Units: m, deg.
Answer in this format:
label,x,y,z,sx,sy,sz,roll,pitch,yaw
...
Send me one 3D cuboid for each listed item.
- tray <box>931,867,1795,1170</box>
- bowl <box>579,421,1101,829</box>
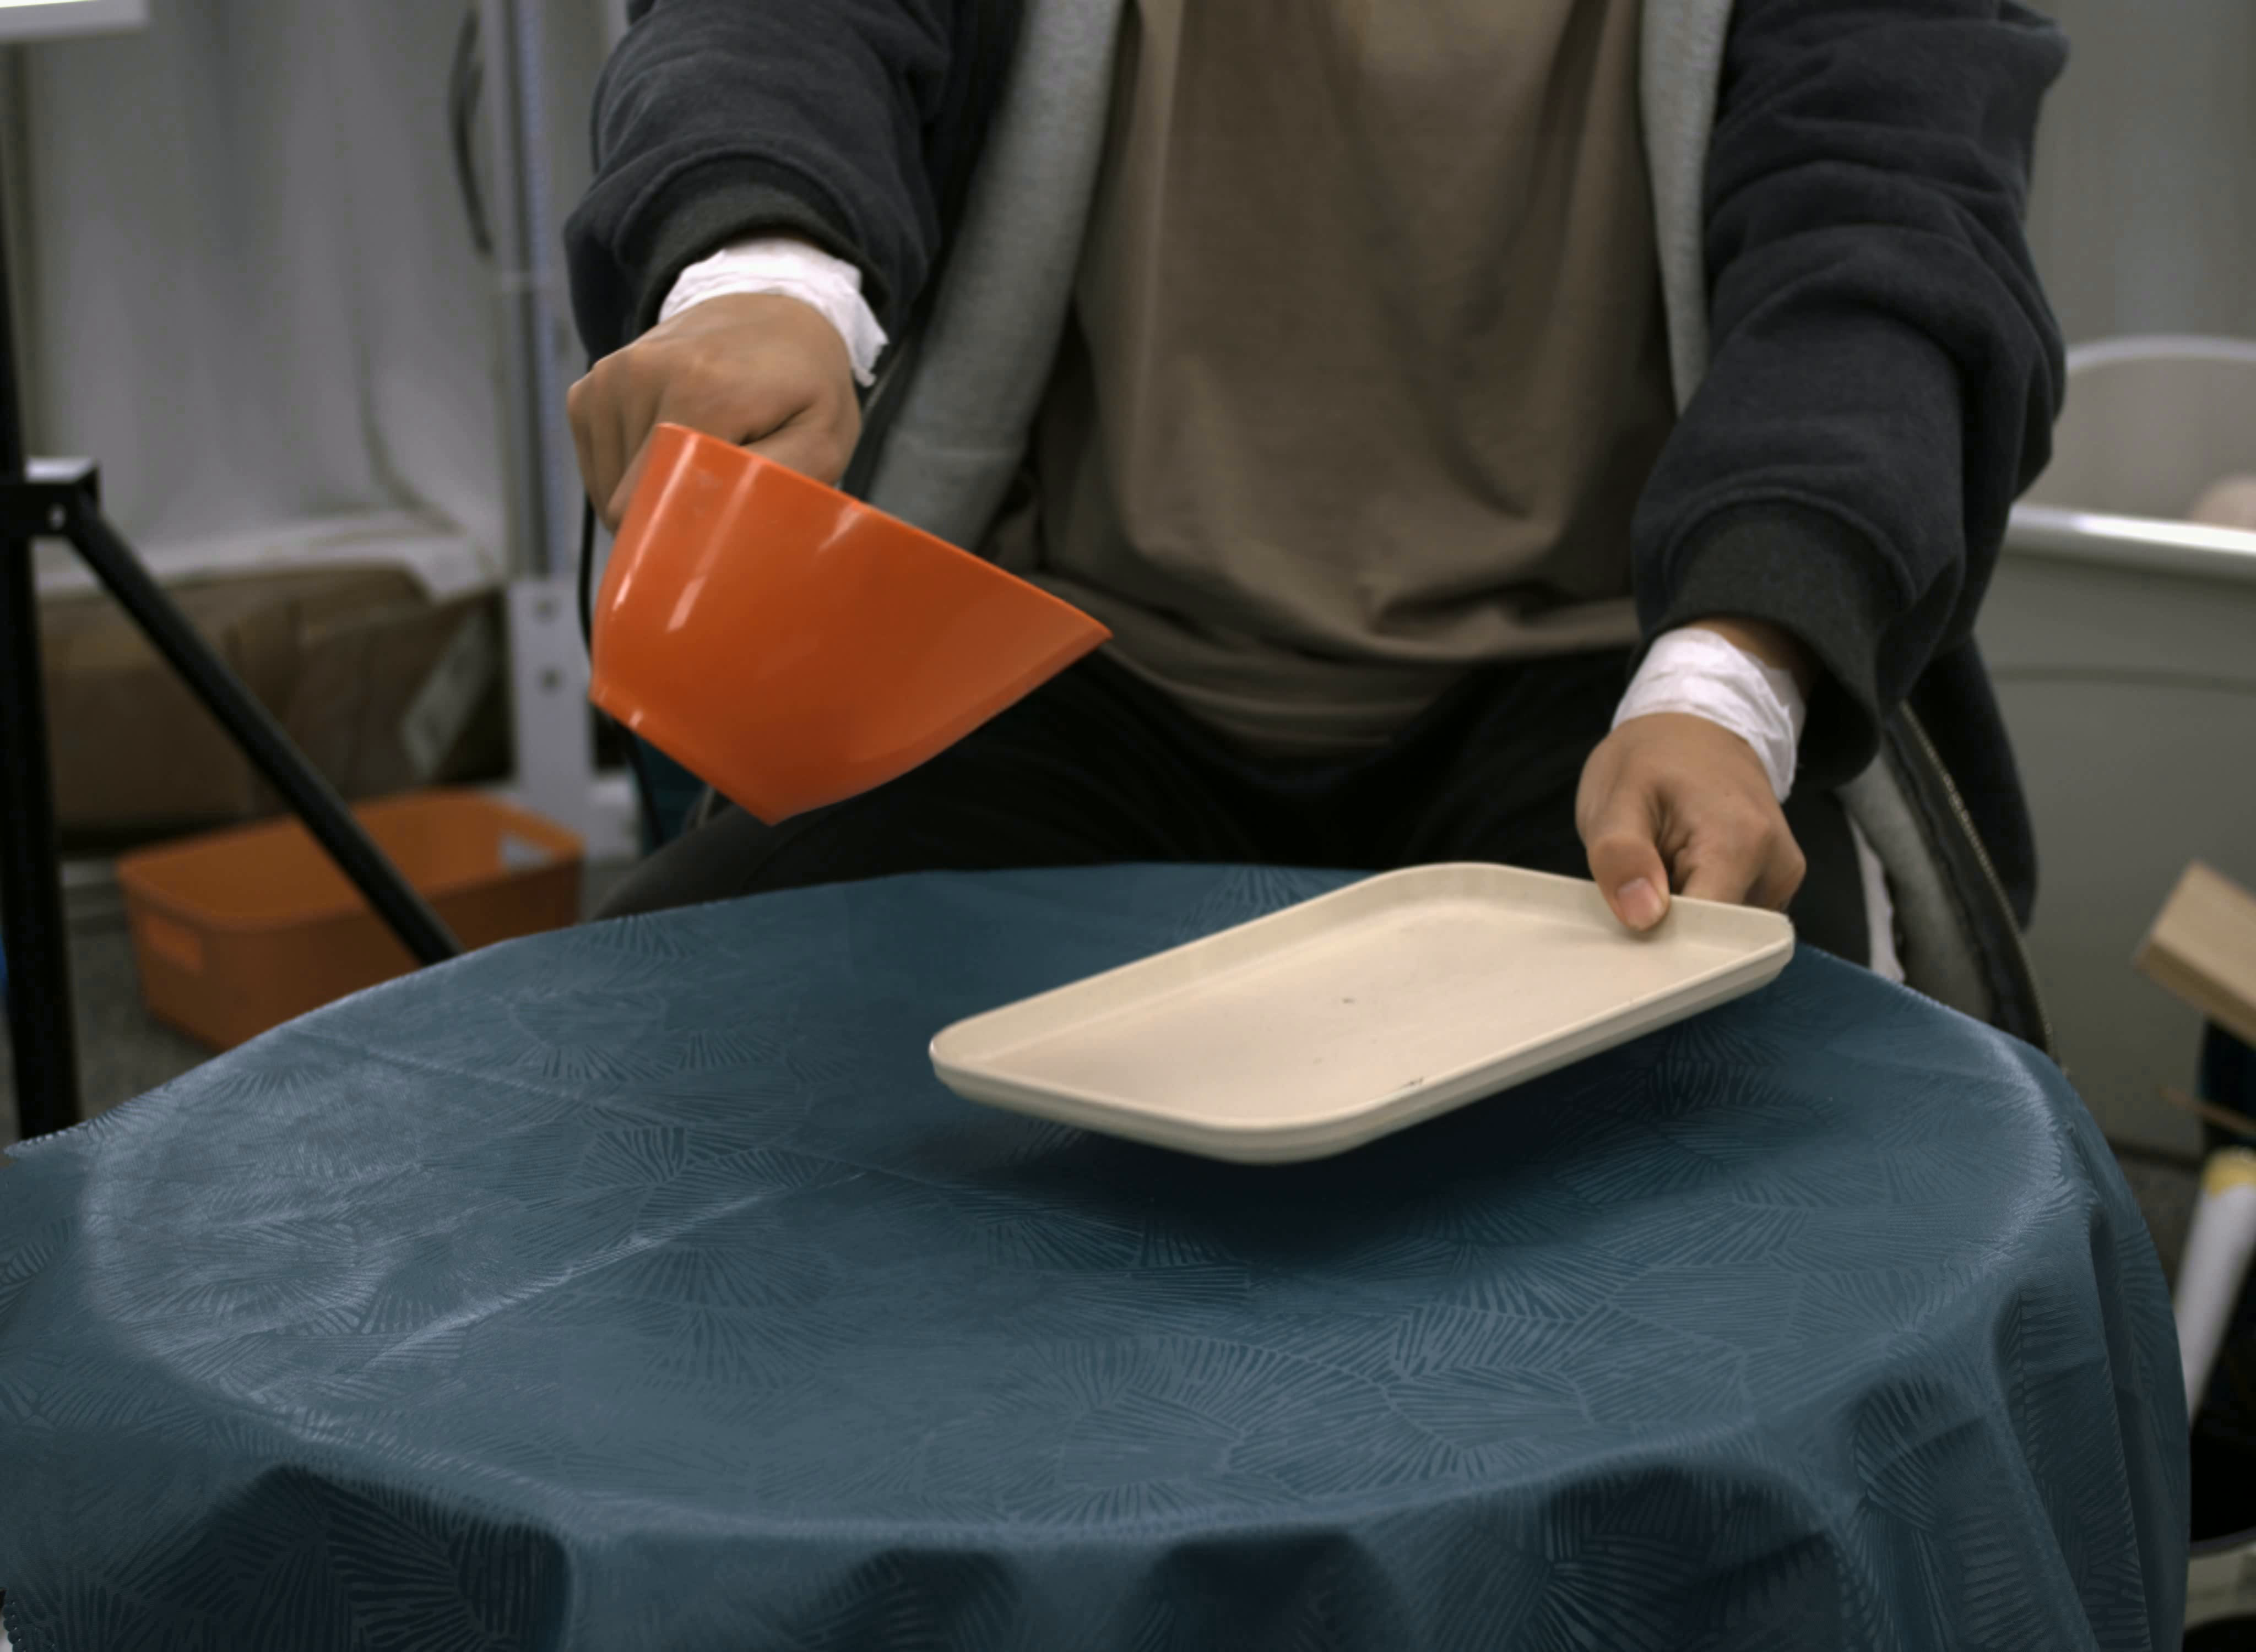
label,x,y,z,sx,sy,sz,roll,pitch,yaw
tray,0.073,0.057,1.594,0.234,0.017,0.175,-19,18,-38
bowl,-0.097,-0.053,1.585,0.147,0.105,0.148,35,0,-2
